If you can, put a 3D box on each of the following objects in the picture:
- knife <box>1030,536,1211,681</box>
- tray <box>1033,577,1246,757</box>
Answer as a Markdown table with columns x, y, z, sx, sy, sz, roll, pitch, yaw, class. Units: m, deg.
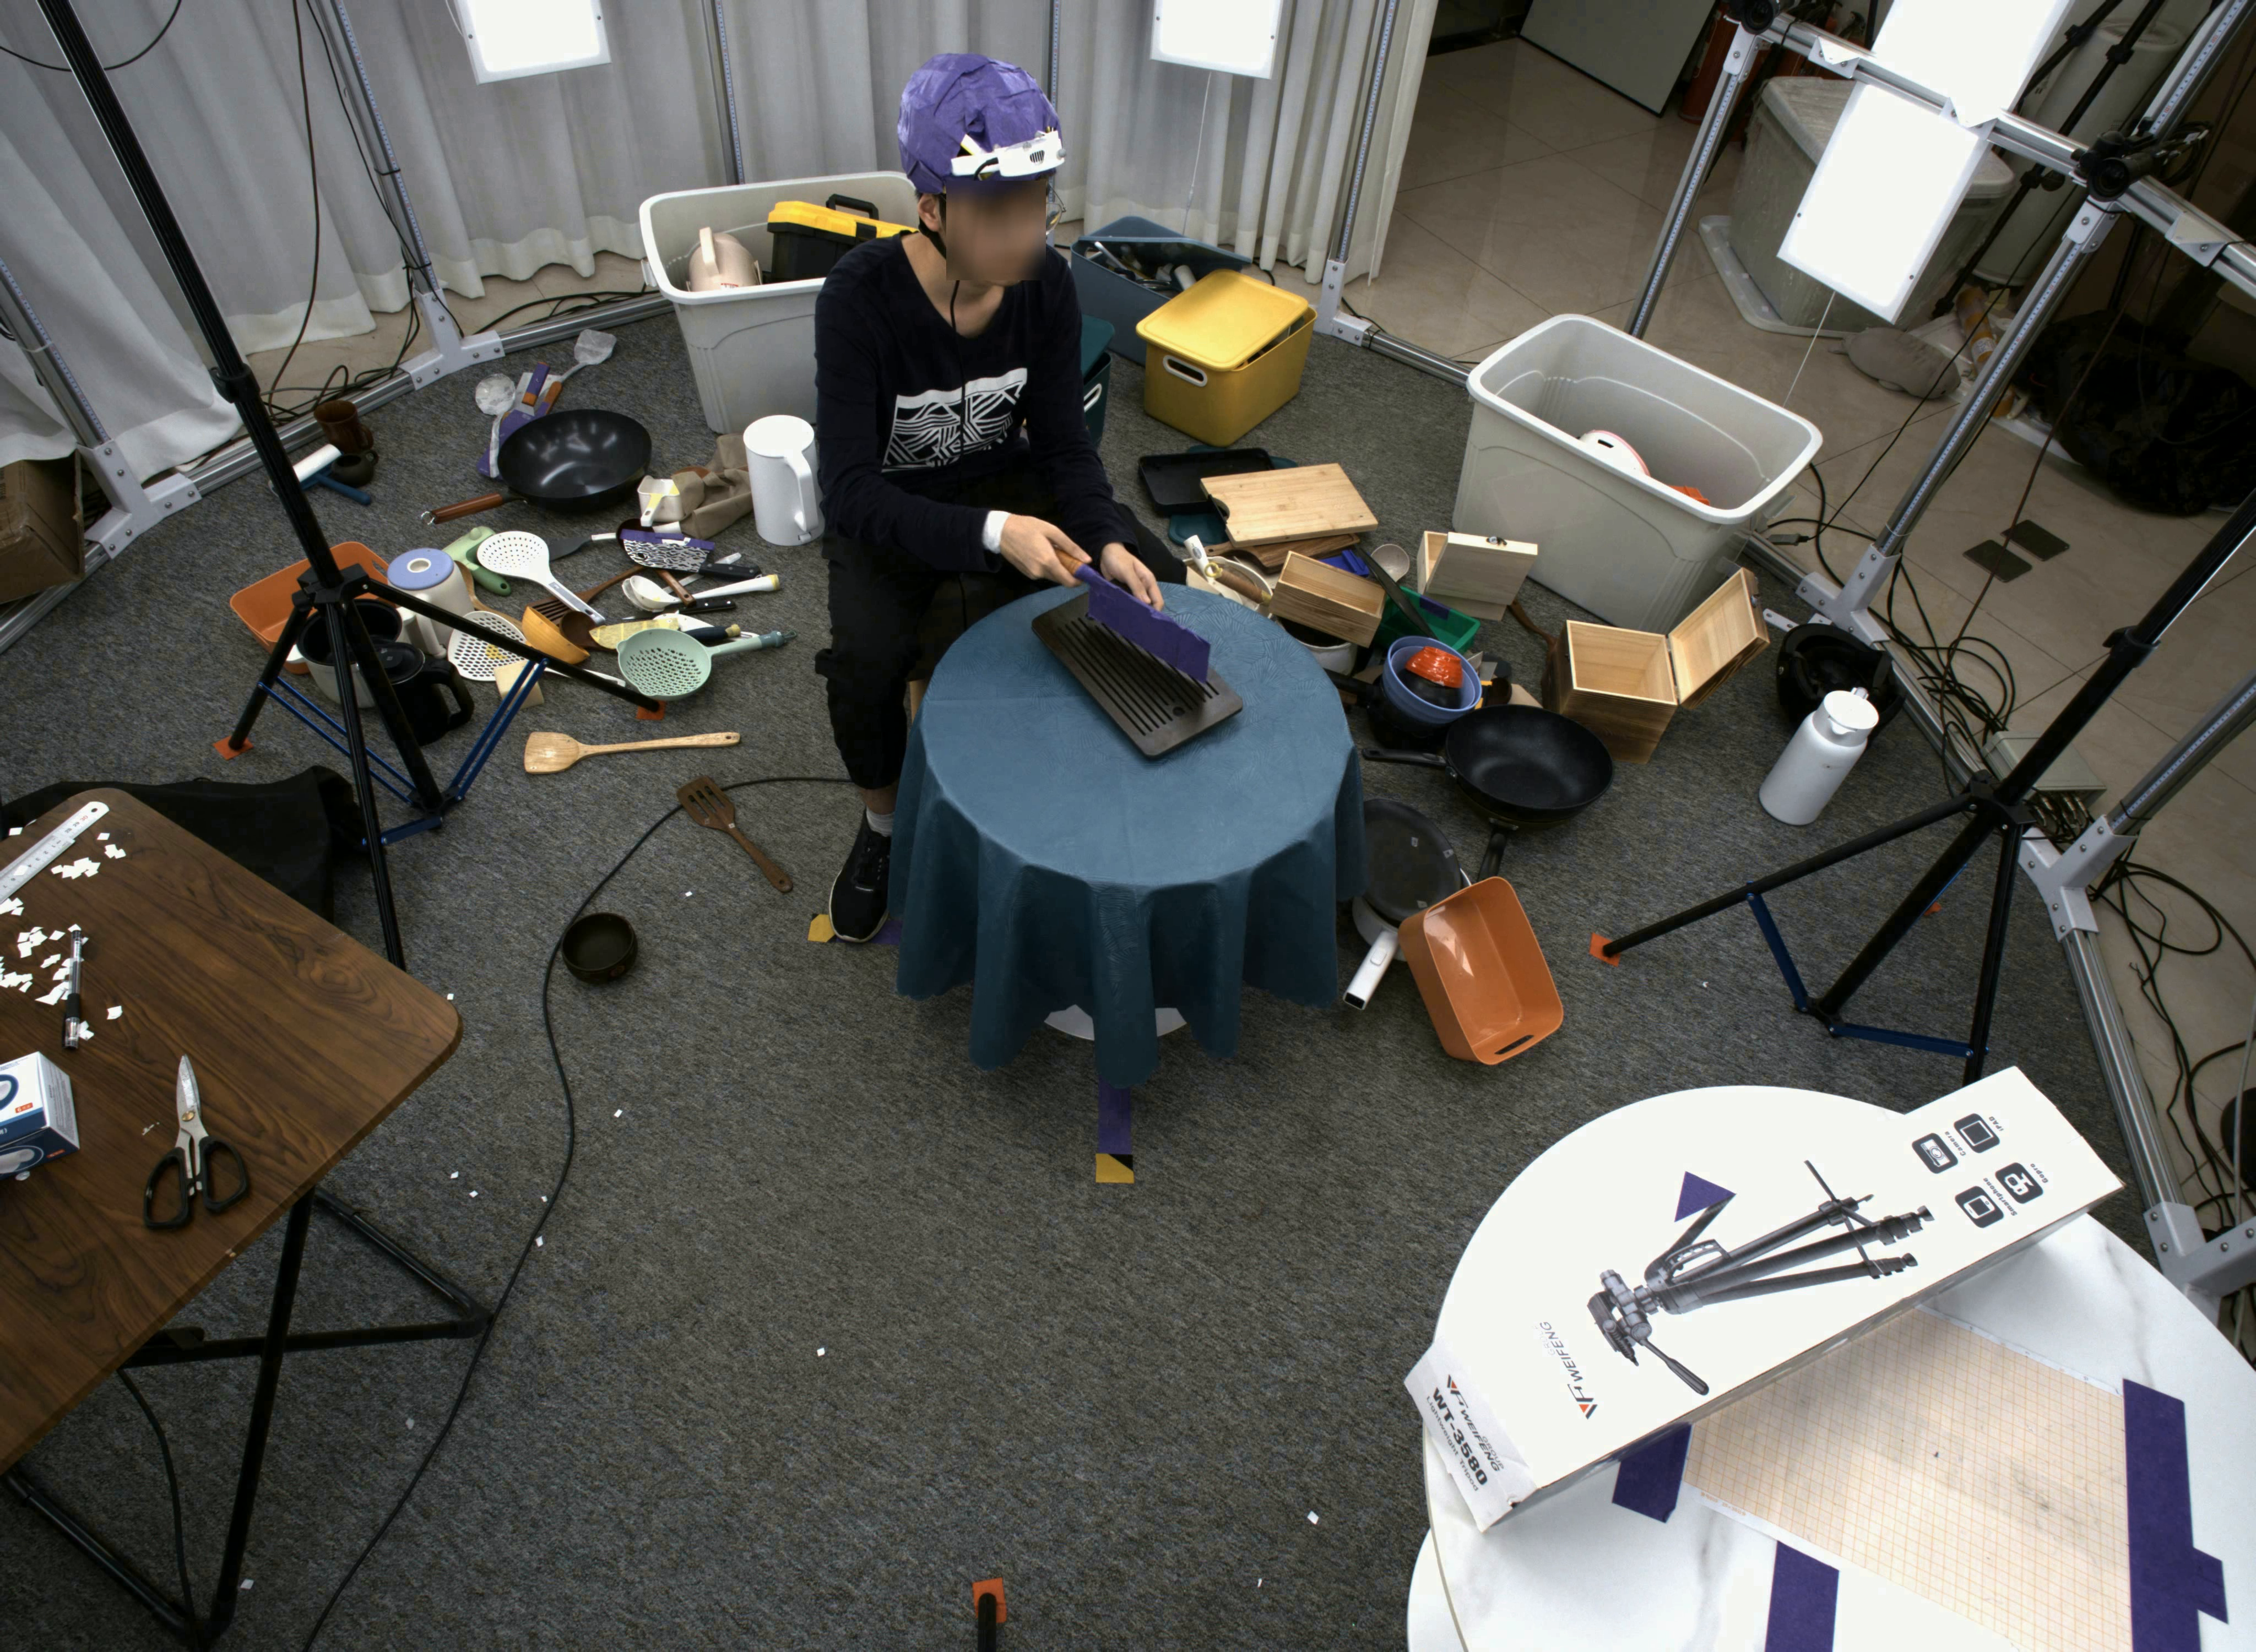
| x | y | z | sx | sy | sz | roll | pitch | yaw | class |
| --- | --- | --- | --- | --- | --- | --- | --- | --- | --- |
| -0.013 | -0.302 | 1.815 | 0.319 | 0.101 | 0.032 | 36 | 61 | 21 | knife |
| 0.013 | -0.232 | 1.839 | 0.171 | 0.018 | 0.311 | -29 | 60 | -20 | tray |
